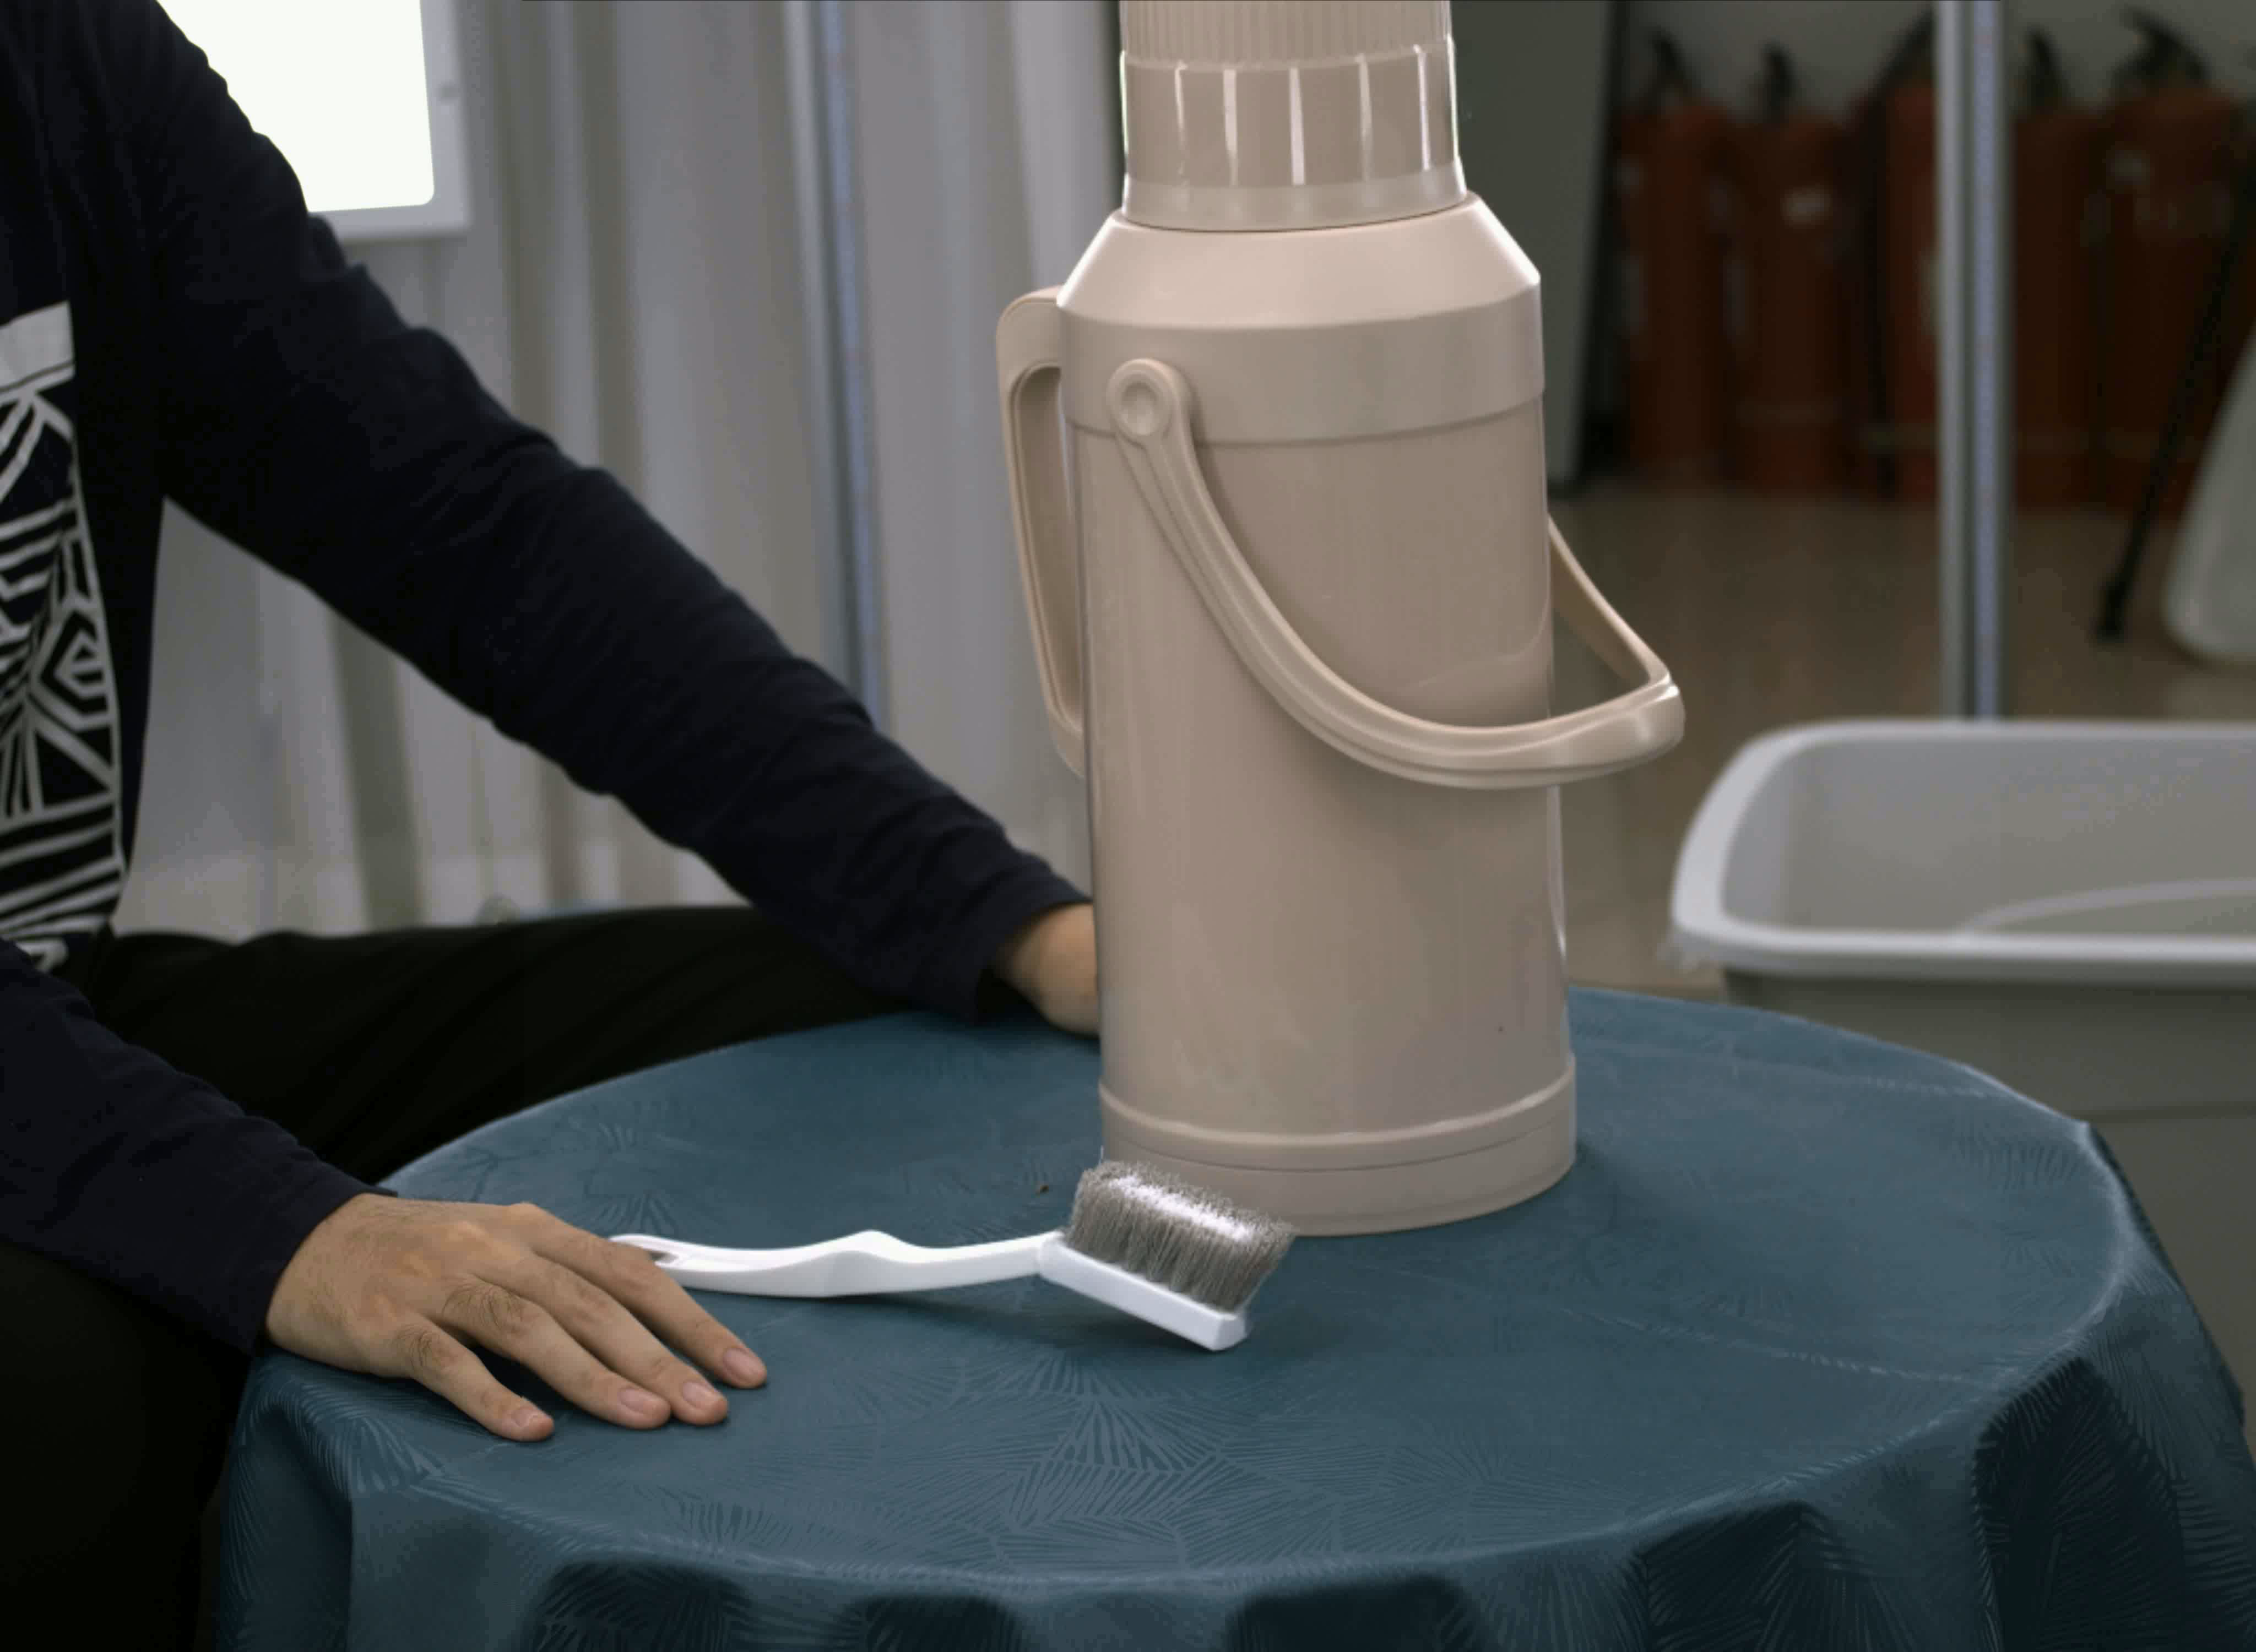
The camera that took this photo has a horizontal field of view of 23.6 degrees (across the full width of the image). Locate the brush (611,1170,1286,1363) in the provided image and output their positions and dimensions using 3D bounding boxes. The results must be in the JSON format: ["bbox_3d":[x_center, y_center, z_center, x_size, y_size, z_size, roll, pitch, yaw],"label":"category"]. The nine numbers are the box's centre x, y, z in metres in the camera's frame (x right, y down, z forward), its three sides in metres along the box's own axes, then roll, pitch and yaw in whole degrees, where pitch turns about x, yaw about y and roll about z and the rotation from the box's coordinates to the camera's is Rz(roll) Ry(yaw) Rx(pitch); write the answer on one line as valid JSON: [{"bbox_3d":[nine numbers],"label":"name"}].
[{"bbox_3d":[-0.061,0.126,1.672,0.245,0.051,0.034,5,20,32],"label":"brush"}]

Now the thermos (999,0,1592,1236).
[{"bbox_3d":[0.050,-0.083,1.754,0.208,0.410,0.172,6,18,37],"label":"thermos"}]
